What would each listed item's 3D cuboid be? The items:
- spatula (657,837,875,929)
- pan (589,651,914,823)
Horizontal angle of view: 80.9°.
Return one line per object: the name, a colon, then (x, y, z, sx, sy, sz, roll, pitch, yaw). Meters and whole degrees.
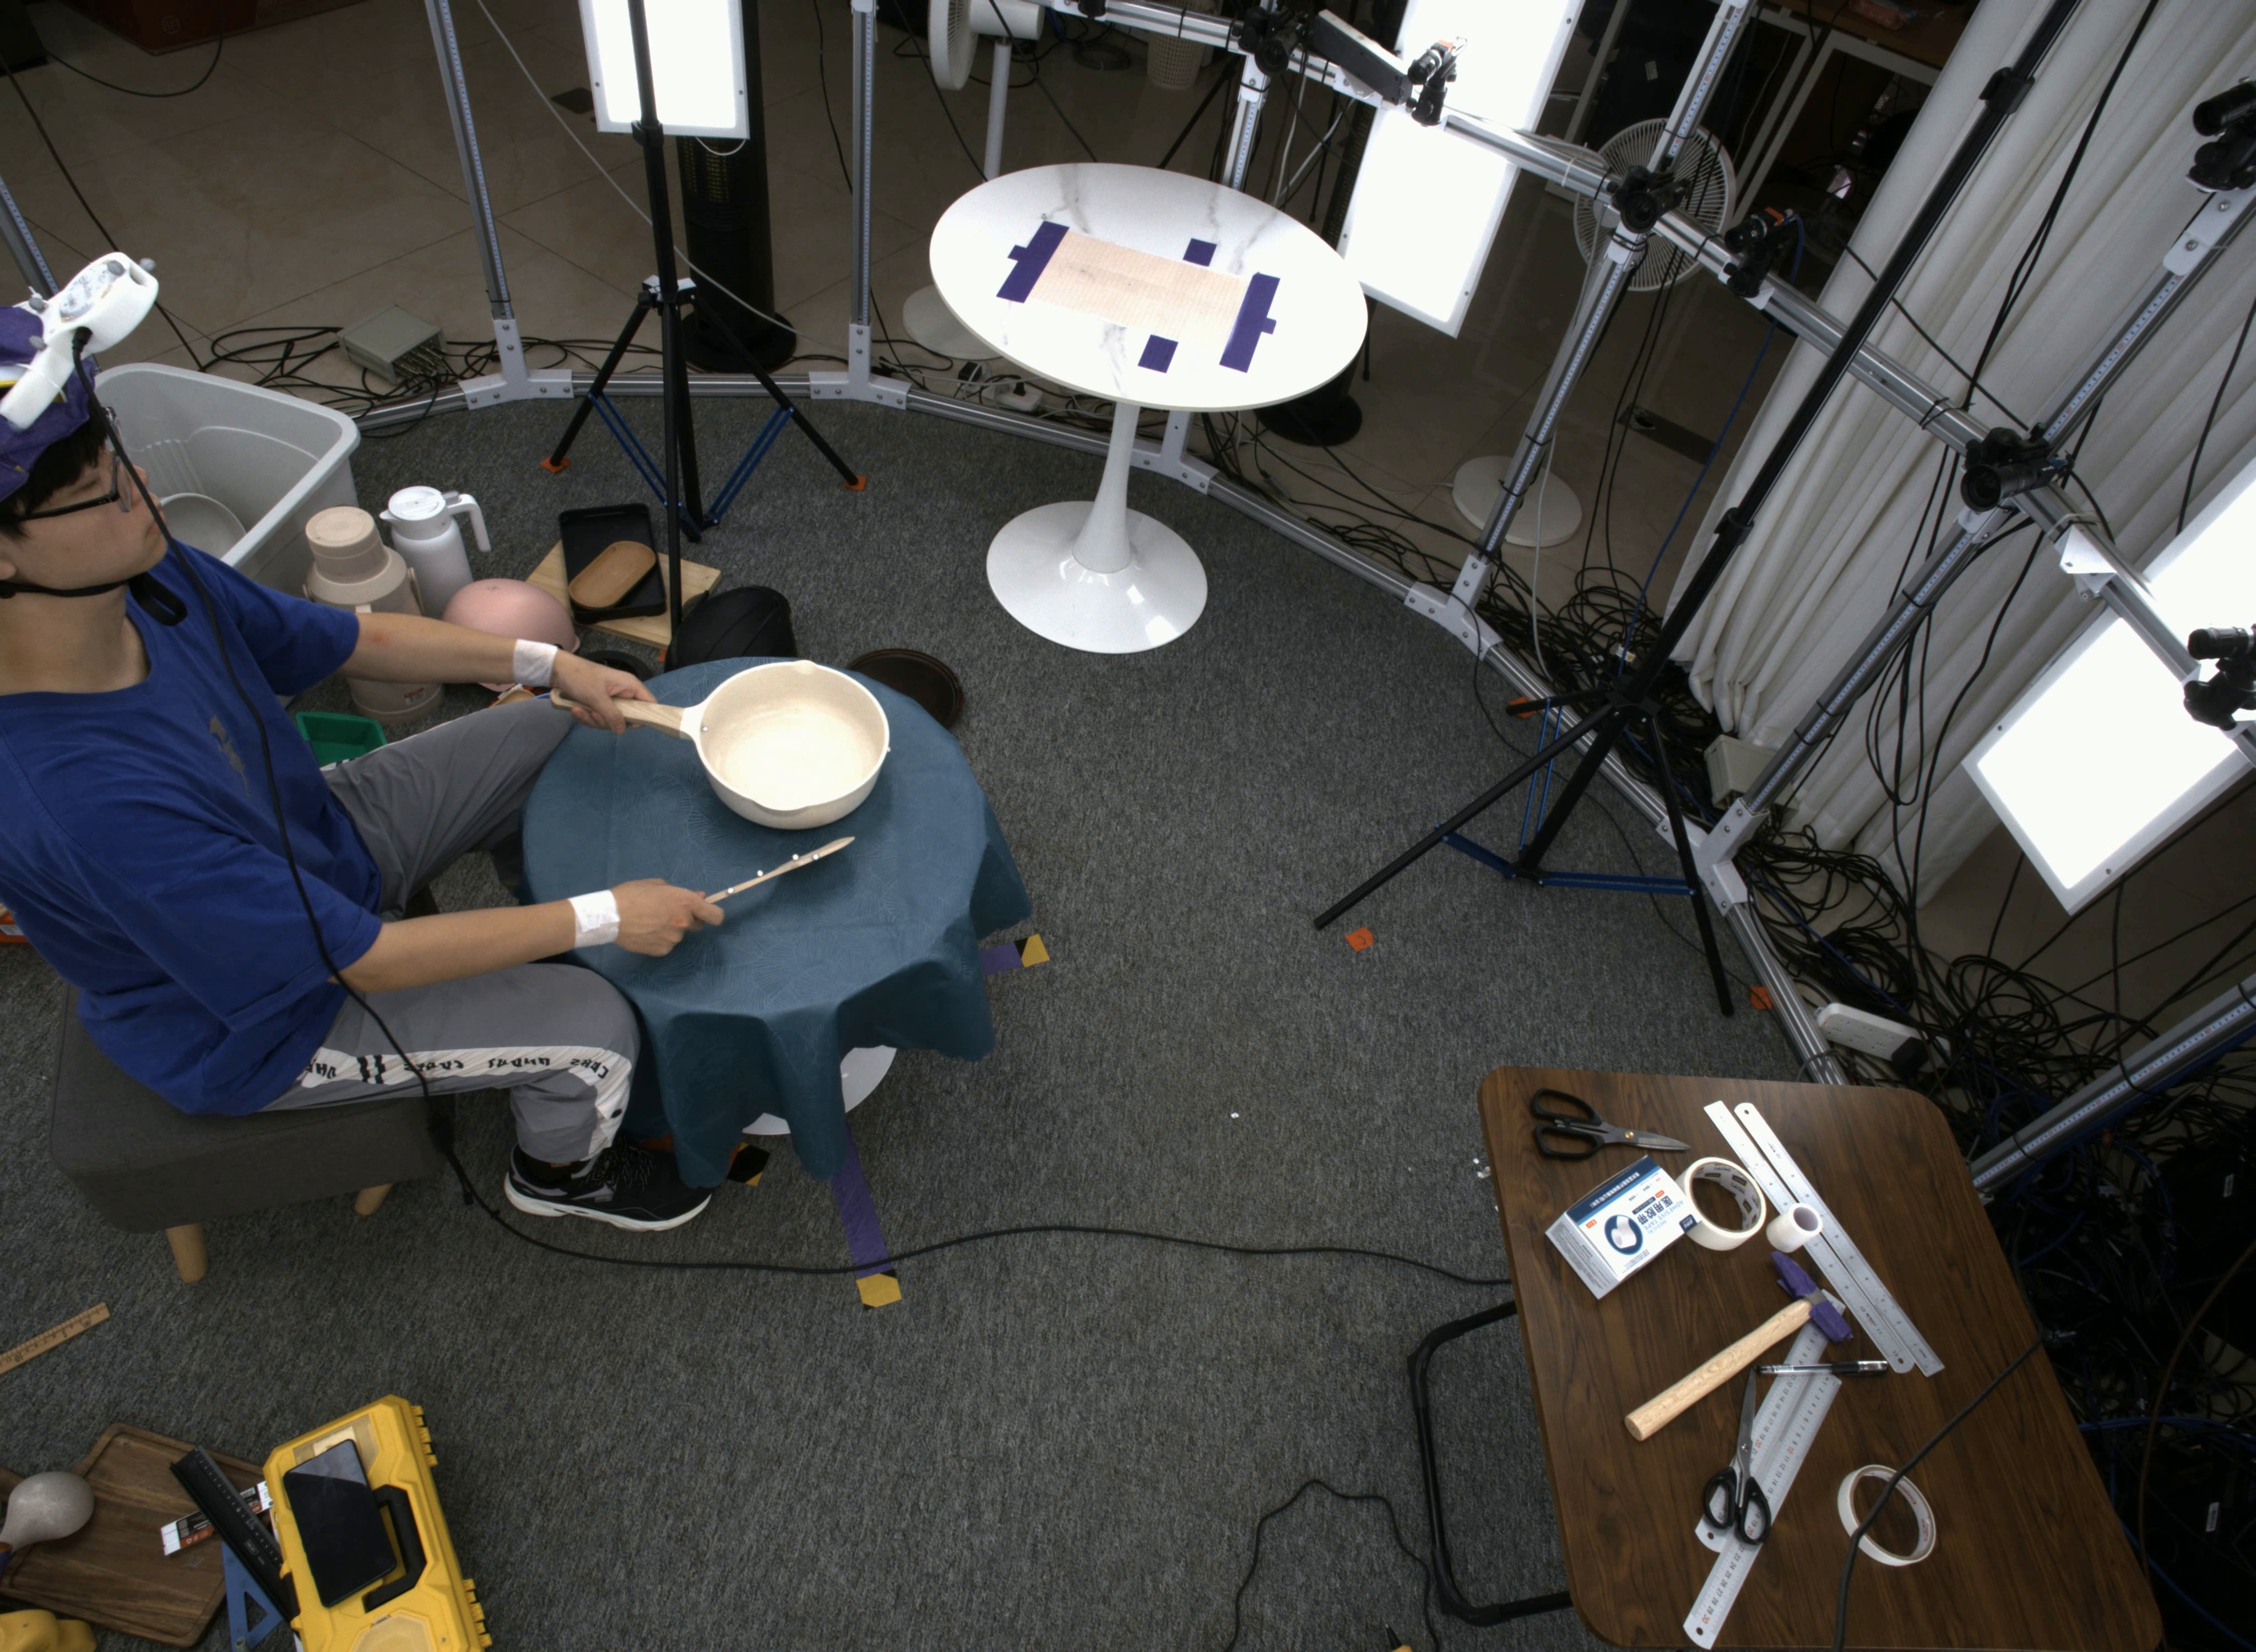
spatula: (-0.454, 0.069, 1.628, 0.295, 0.070, 0.011, -25, 99, -33)
pan: (-0.507, -0.126, 1.736, 0.435, 0.104, 0.258, 6, 55, -11)
